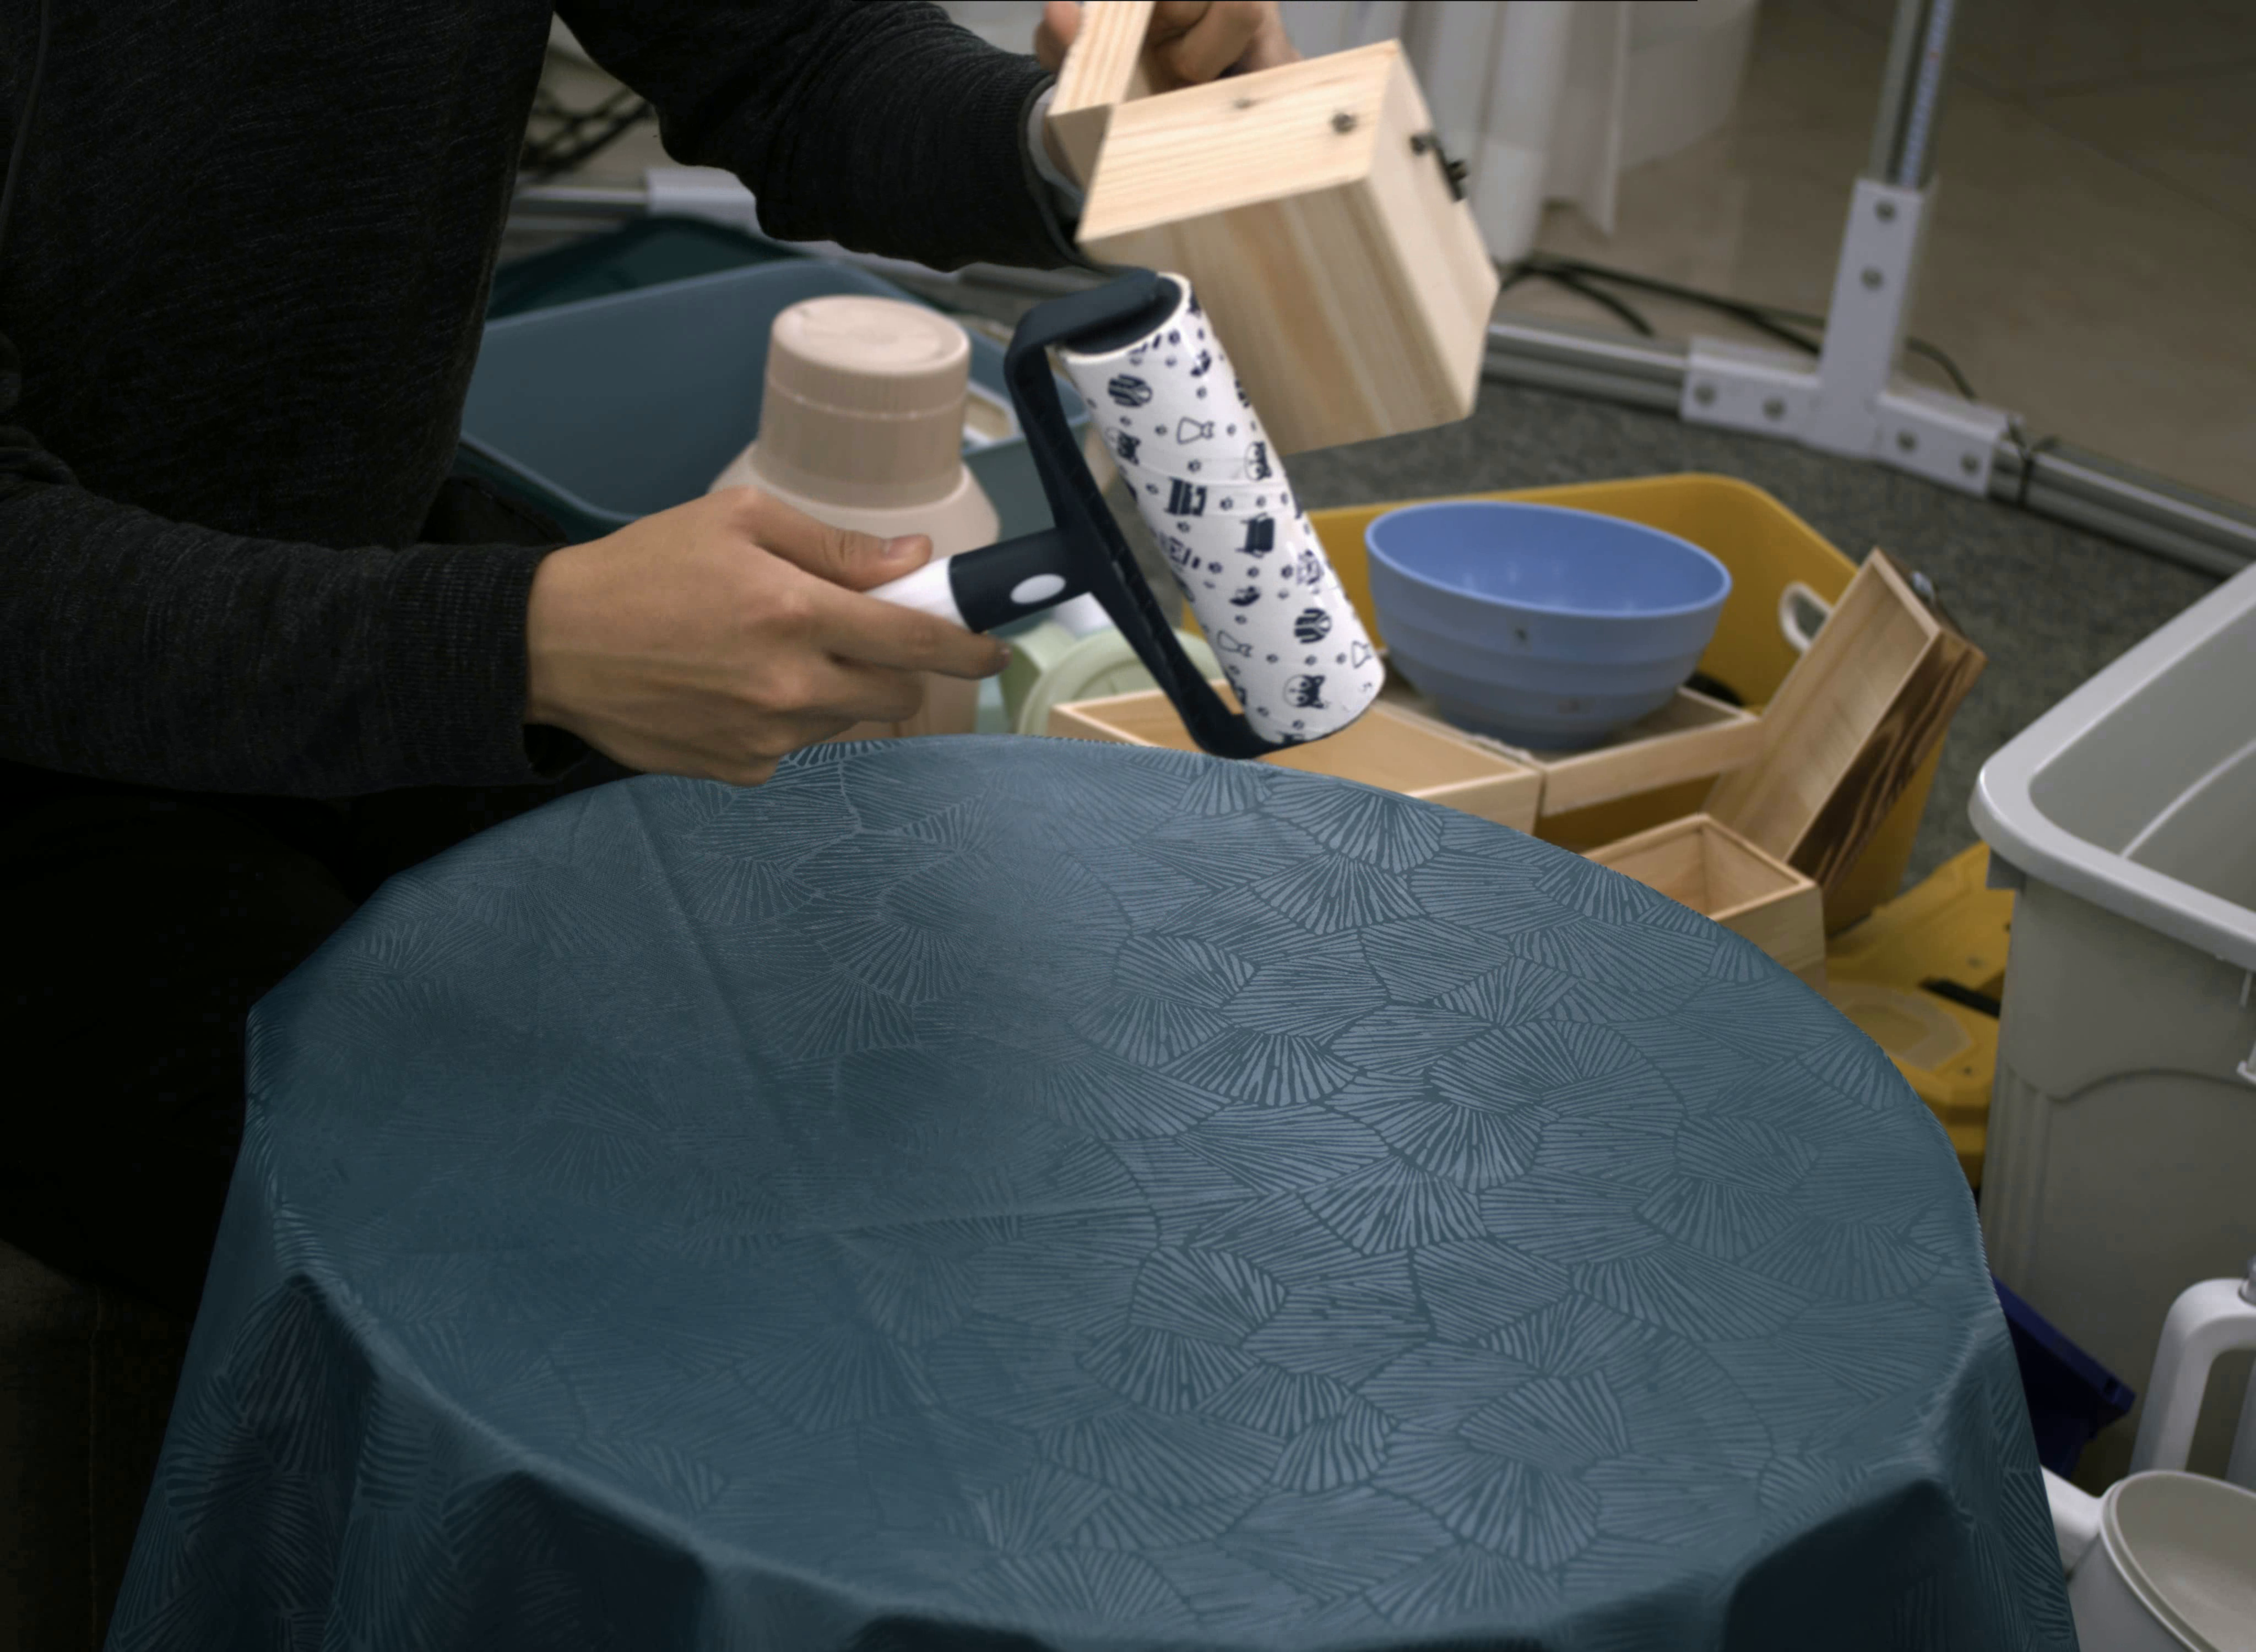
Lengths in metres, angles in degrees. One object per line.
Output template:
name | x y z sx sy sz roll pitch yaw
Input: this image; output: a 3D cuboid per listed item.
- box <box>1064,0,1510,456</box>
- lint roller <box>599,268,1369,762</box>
box | 0.058 -0.223 1.793 0.134 0.102 0.185 -11 38 21
lint roller | -0.063 -0.069 1.749 0.247 0.175 0.051 -20 31 15
